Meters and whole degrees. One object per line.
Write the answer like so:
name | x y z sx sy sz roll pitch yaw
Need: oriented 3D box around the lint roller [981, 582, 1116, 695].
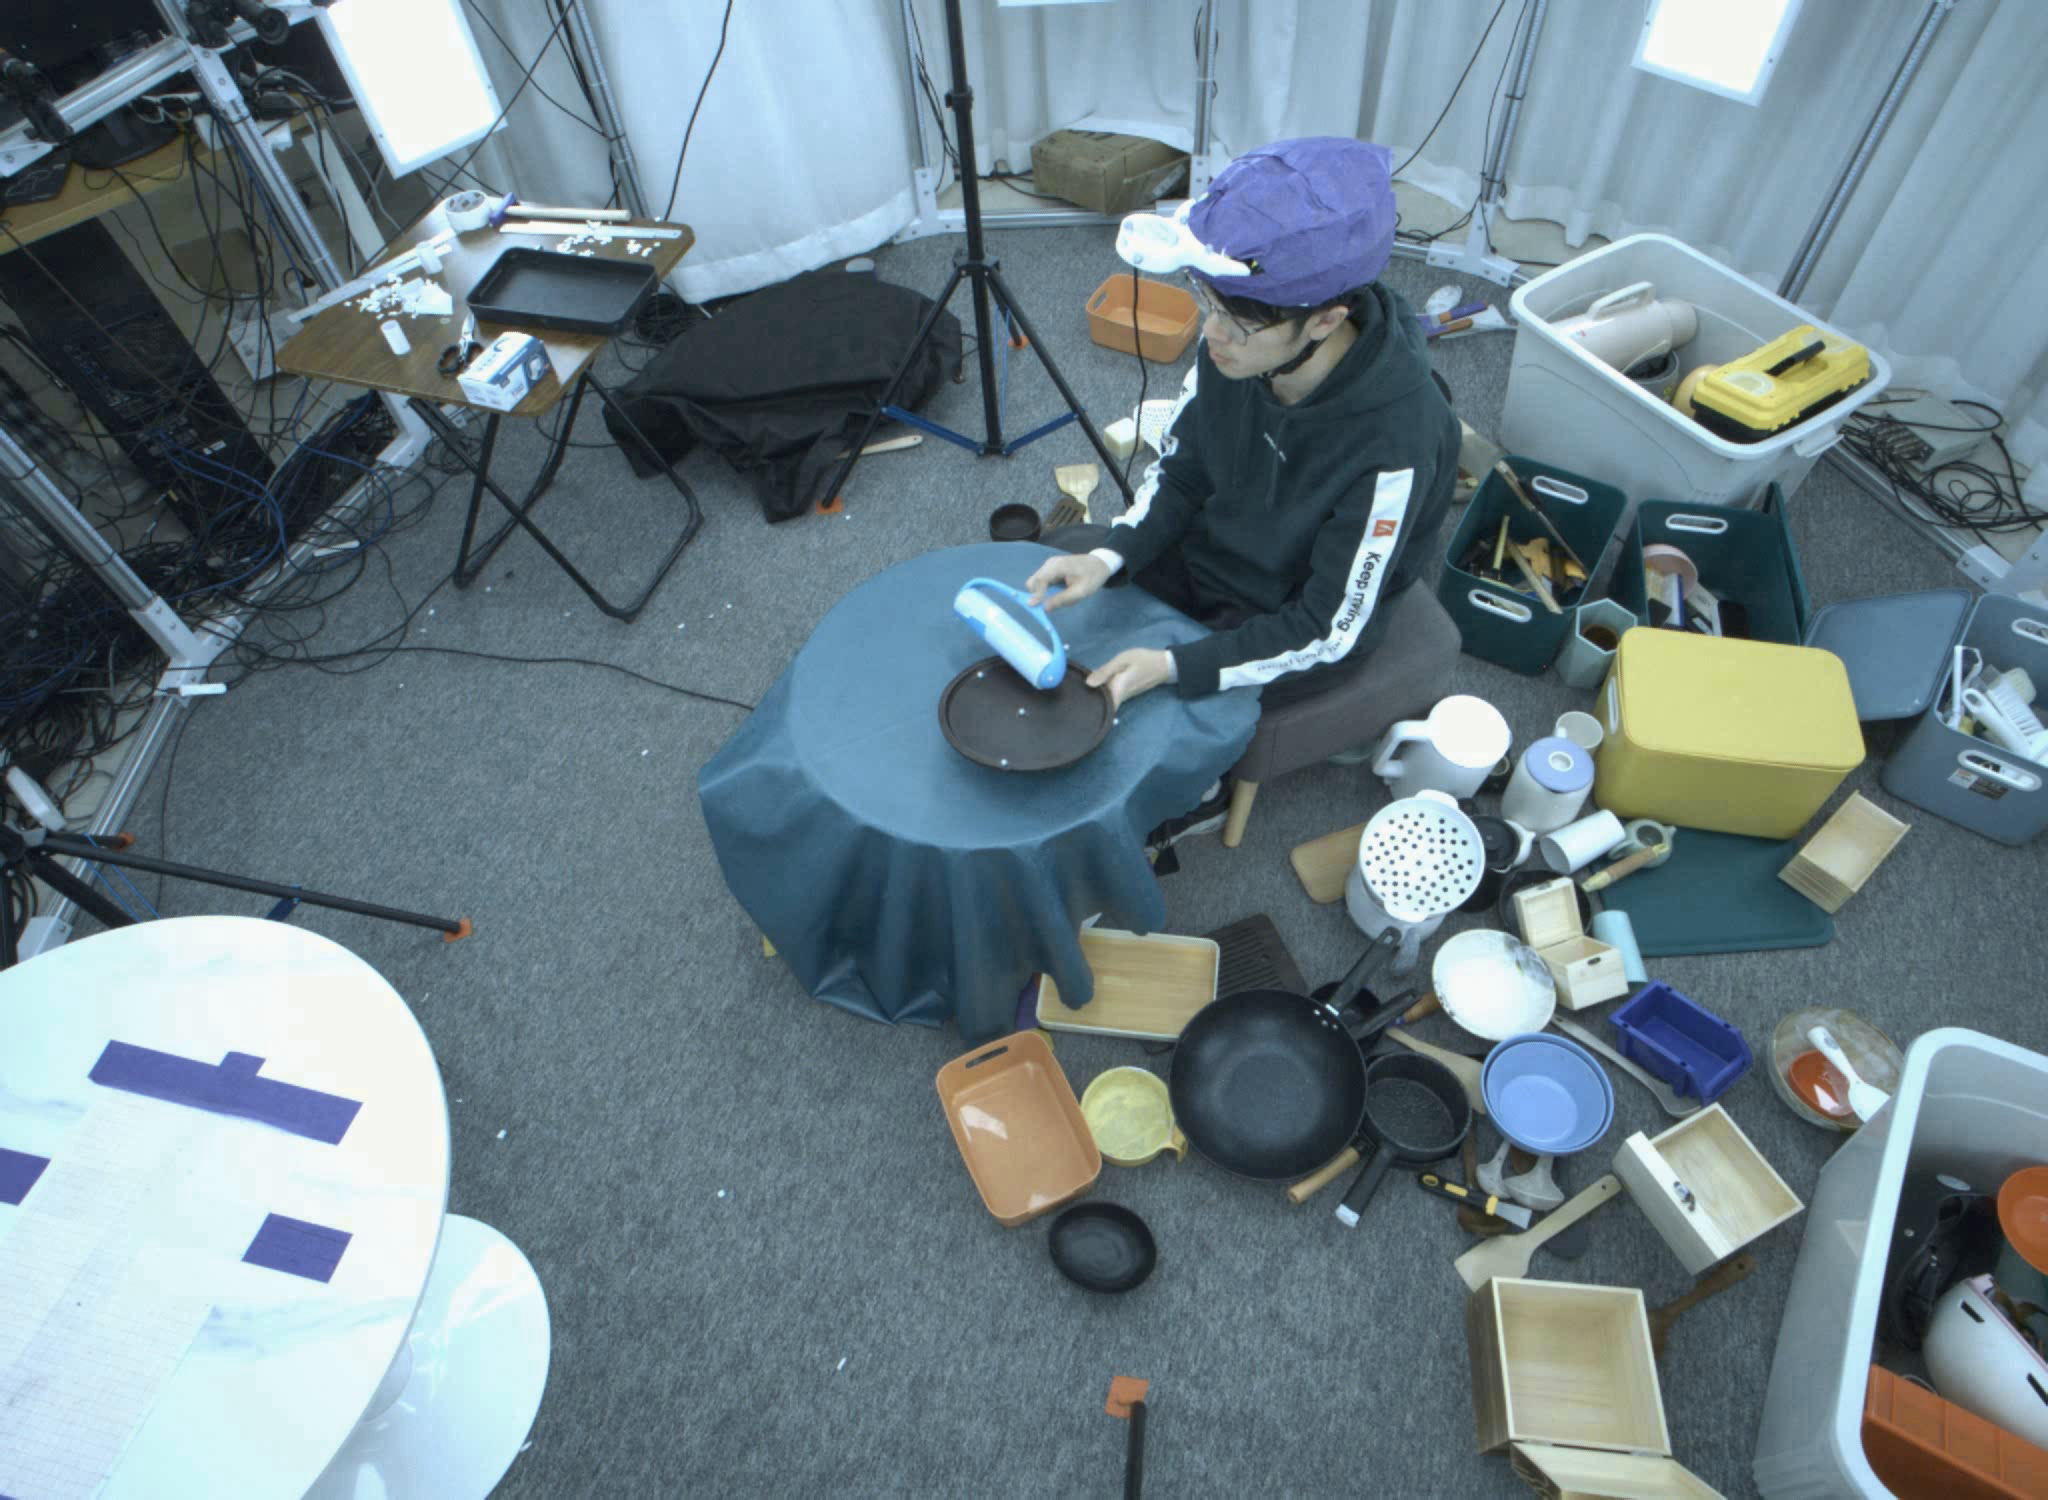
lint roller | 0.060 -0.197 1.819 0.181 0.069 0.224 -41 62 -14

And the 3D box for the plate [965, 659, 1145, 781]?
plate | 0.043 -0.047 1.746 0.255 0.029 0.252 2 46 -1
